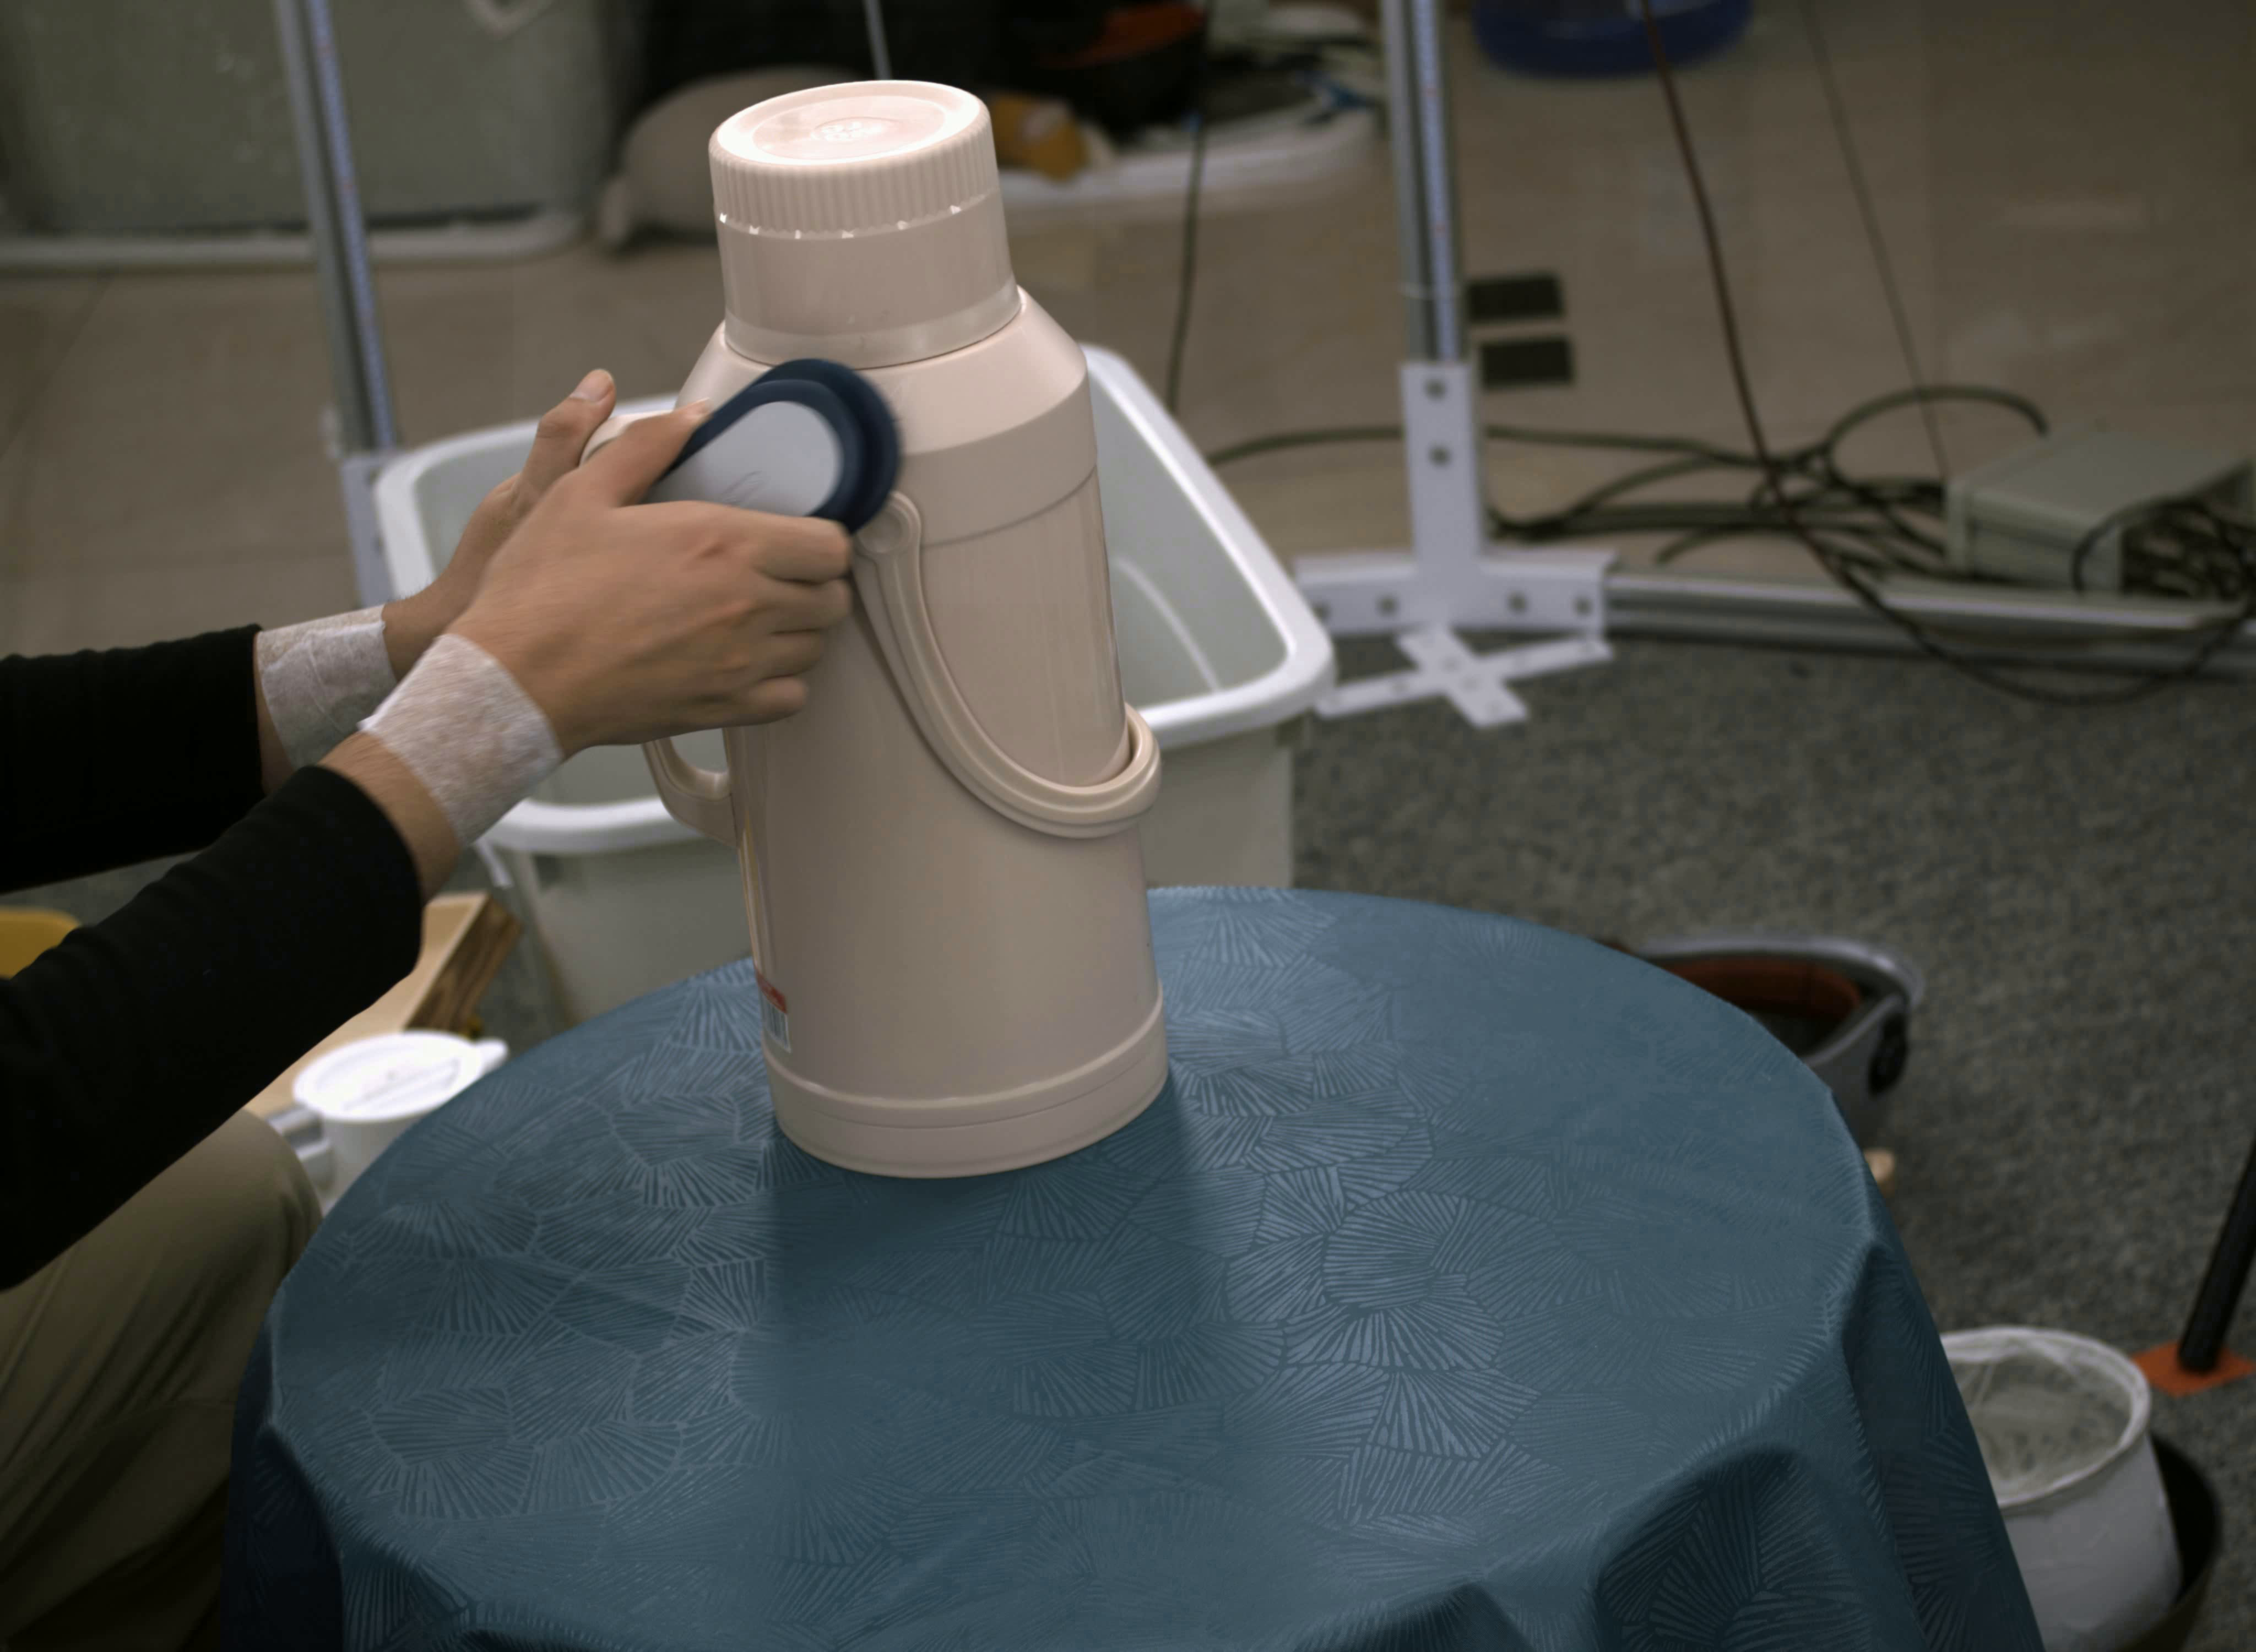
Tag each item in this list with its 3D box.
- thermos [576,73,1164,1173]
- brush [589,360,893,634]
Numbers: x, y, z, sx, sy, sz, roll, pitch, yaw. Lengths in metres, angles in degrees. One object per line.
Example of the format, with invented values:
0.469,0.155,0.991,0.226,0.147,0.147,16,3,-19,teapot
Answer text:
-0.097,-0.077,2.158,0.207,0.413,0.172,-5,27,1,thermos
-0.138,-0.118,2.033,0.122,0.068,0.061,-35,-1,20,brush
